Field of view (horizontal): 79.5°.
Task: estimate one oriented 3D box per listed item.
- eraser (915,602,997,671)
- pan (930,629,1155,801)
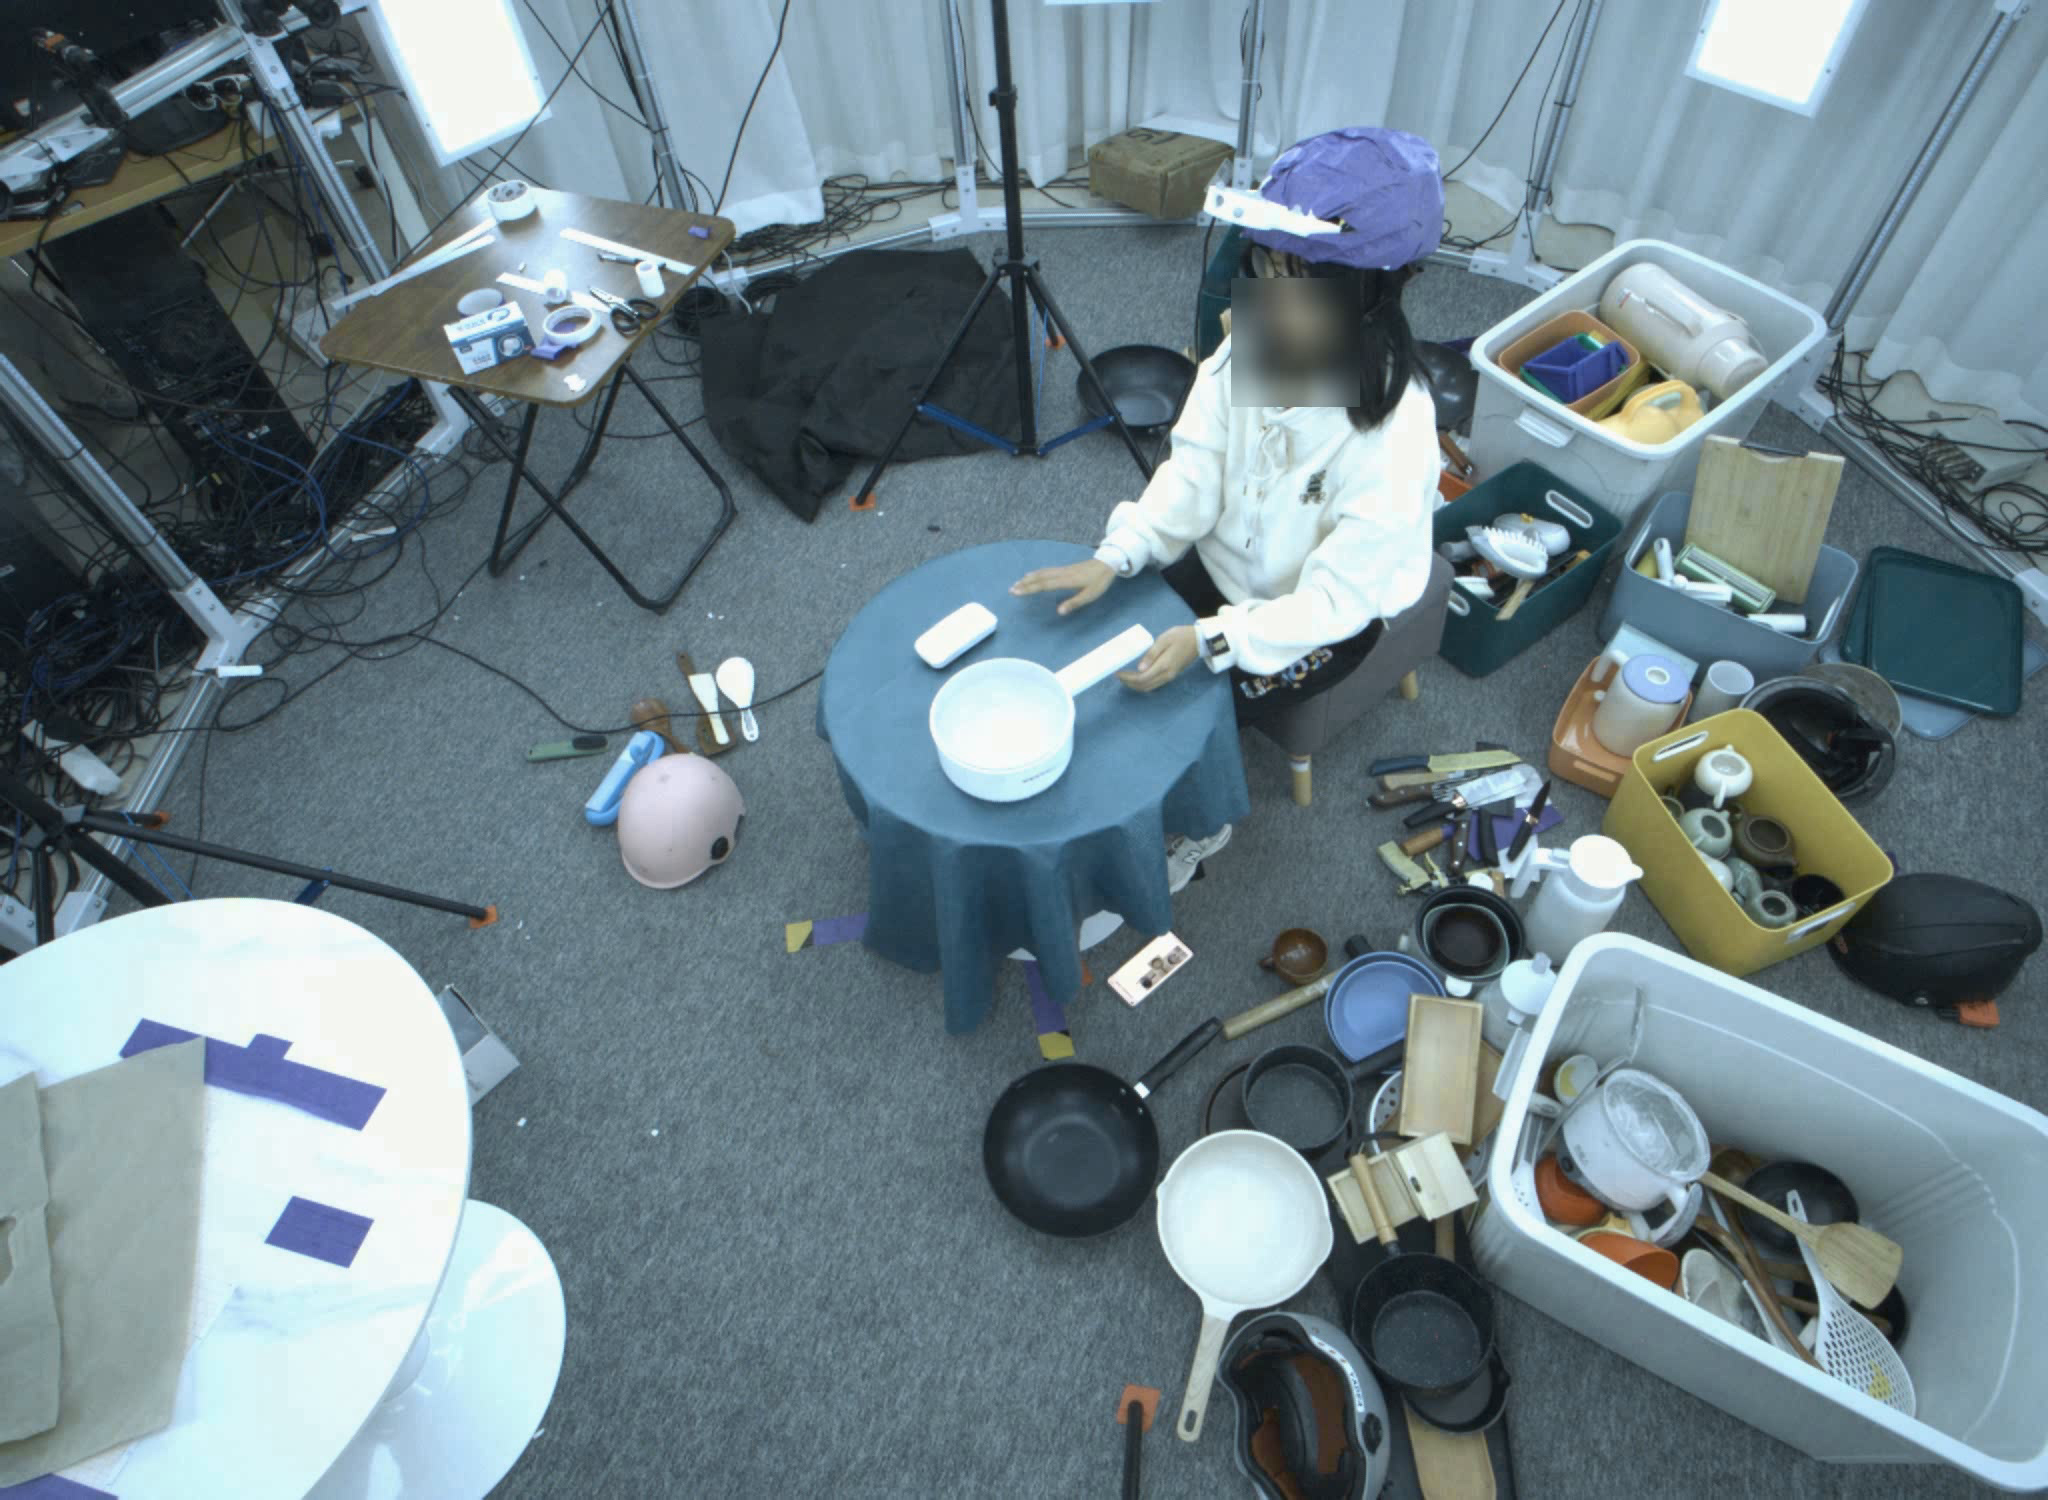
[{"bbox_3d":[-0.104,-0.177,1.898,0.132,0.035,0.062,-38,64,-22],"label":"eraser"},{"bbox_3d":[0.034,-0.060,1.769,0.358,0.103,0.197,-30,60,-20],"label":"pan"}]
